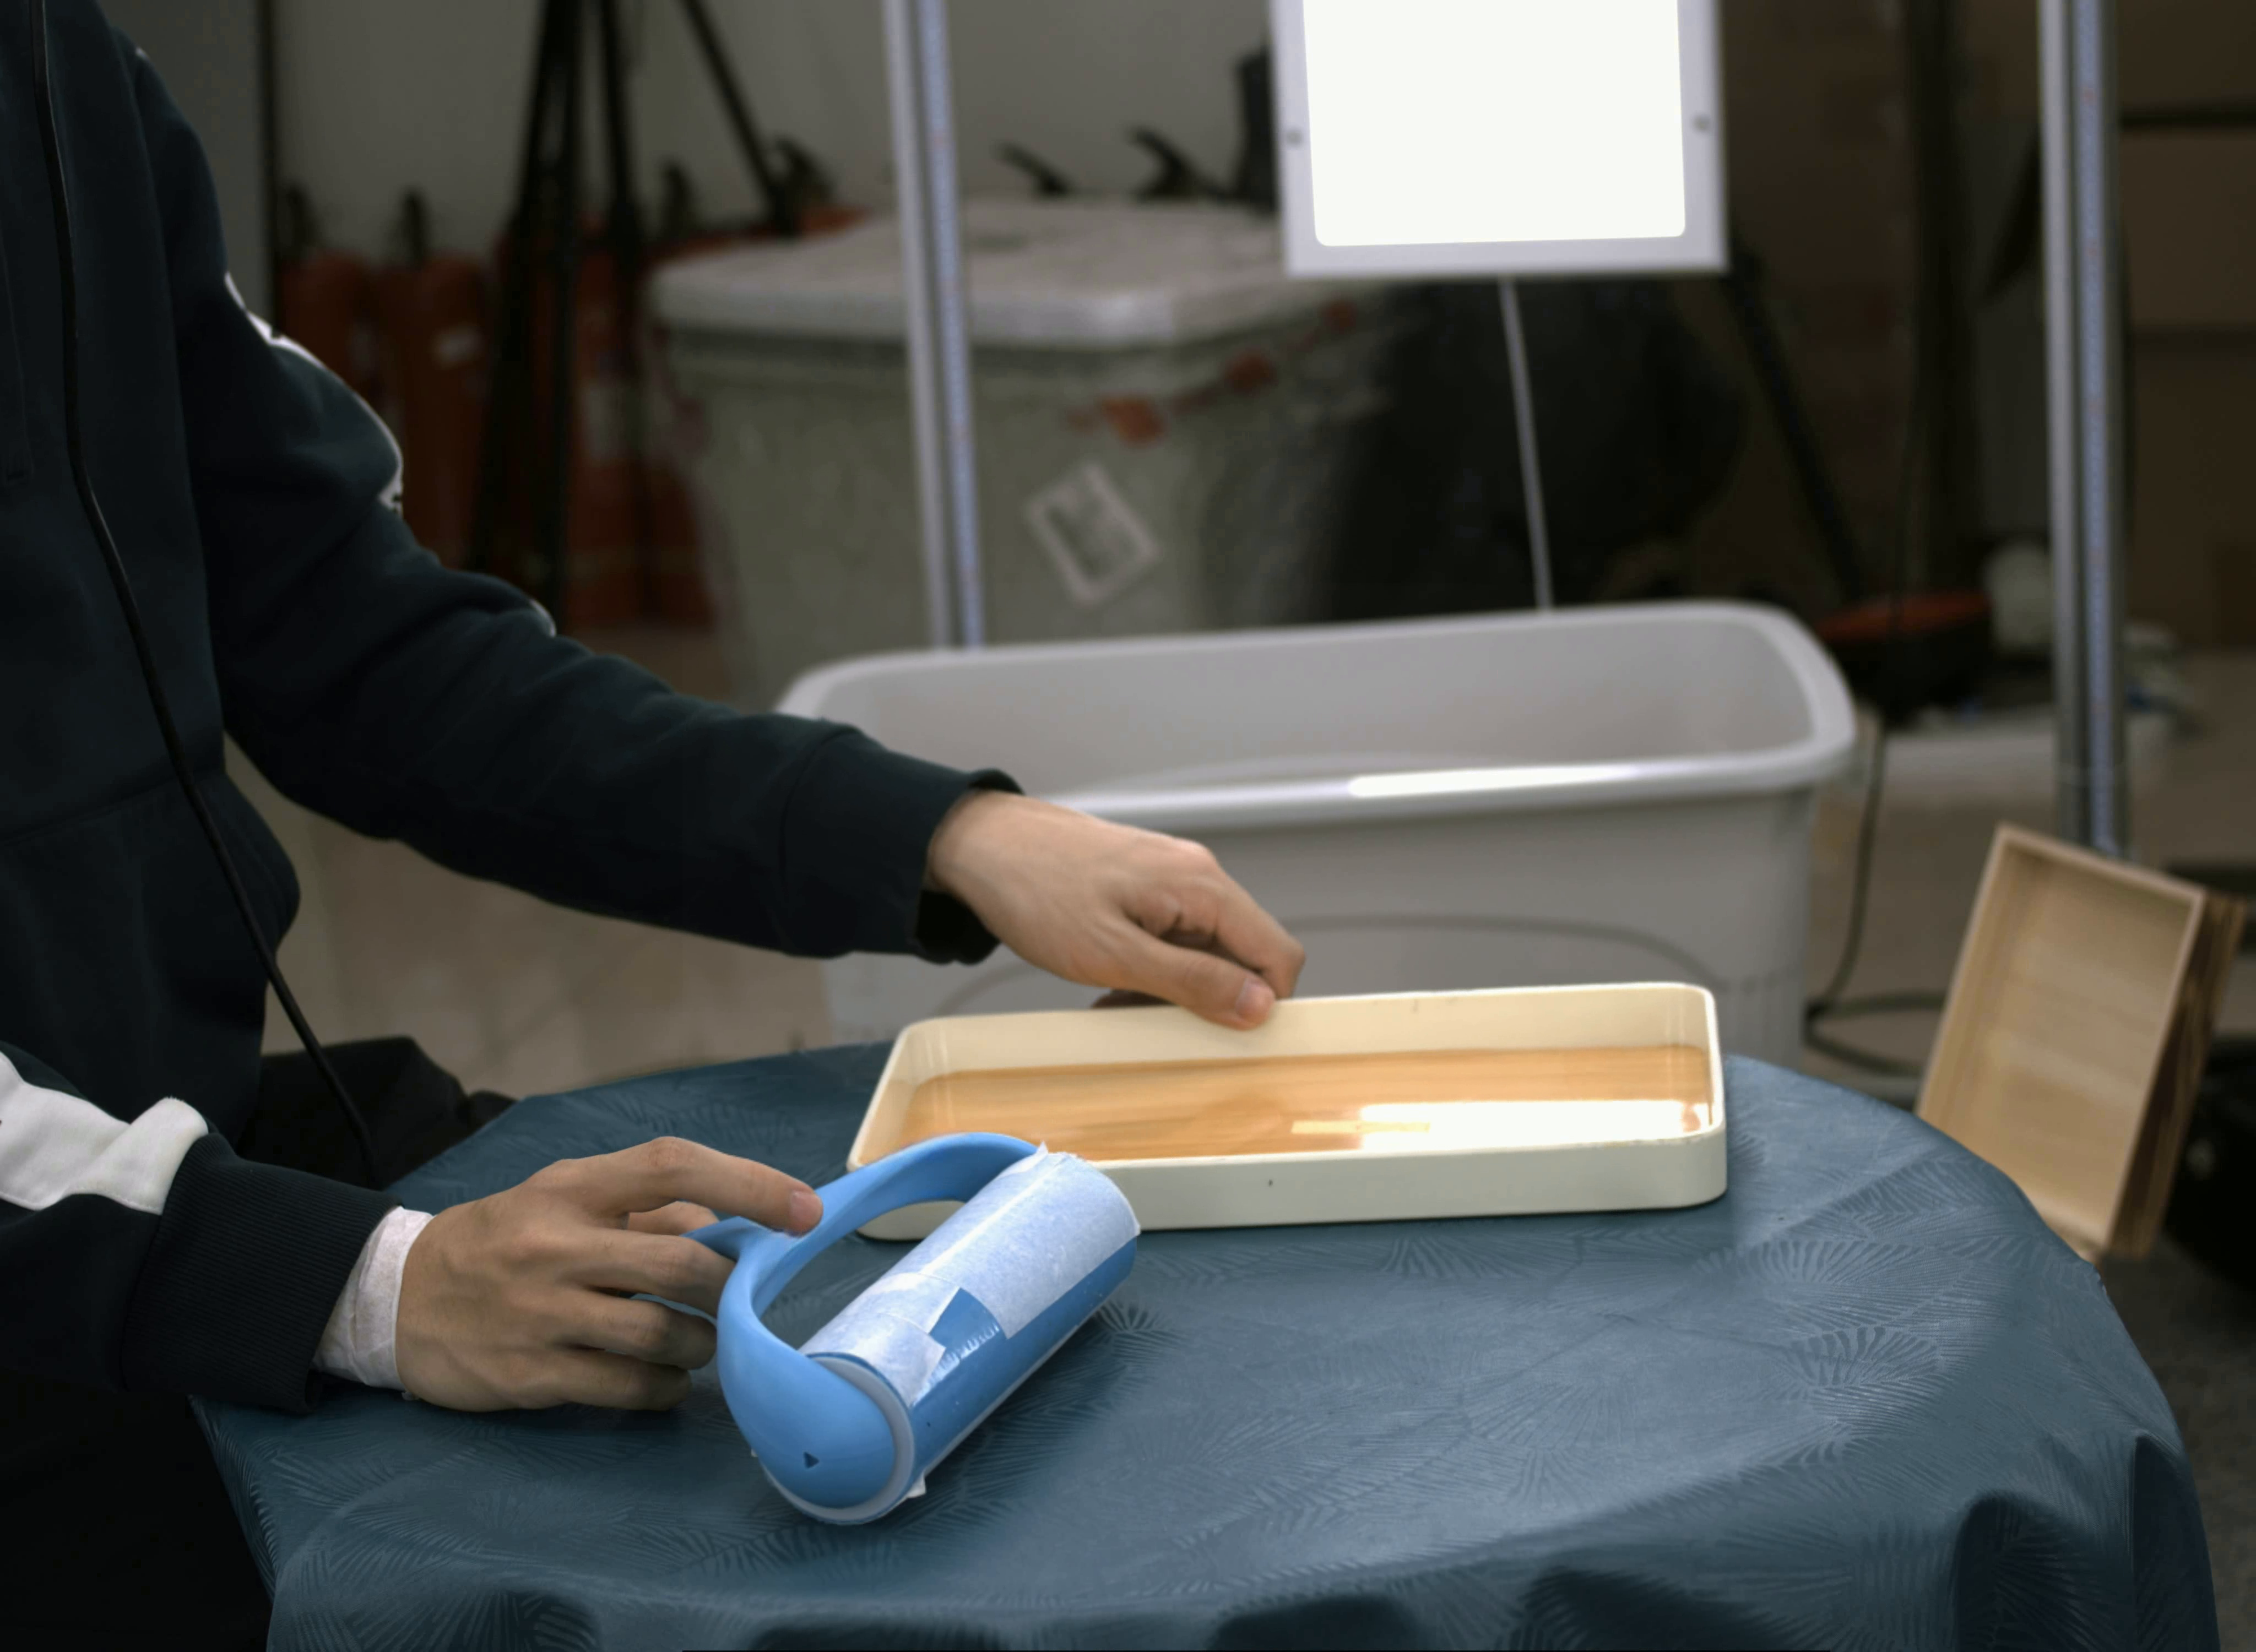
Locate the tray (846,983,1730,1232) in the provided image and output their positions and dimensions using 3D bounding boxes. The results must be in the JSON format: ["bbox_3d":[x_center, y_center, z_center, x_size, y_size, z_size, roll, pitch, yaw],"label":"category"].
[{"bbox_3d":[0.060,0.099,1.928,0.301,0.027,0.190,-3,14,8],"label":"tray"}]

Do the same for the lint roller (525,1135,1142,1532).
[{"bbox_3d":[-0.106,0.154,1.707,0.182,0.068,0.225,0,17,17],"label":"lint roller"}]
